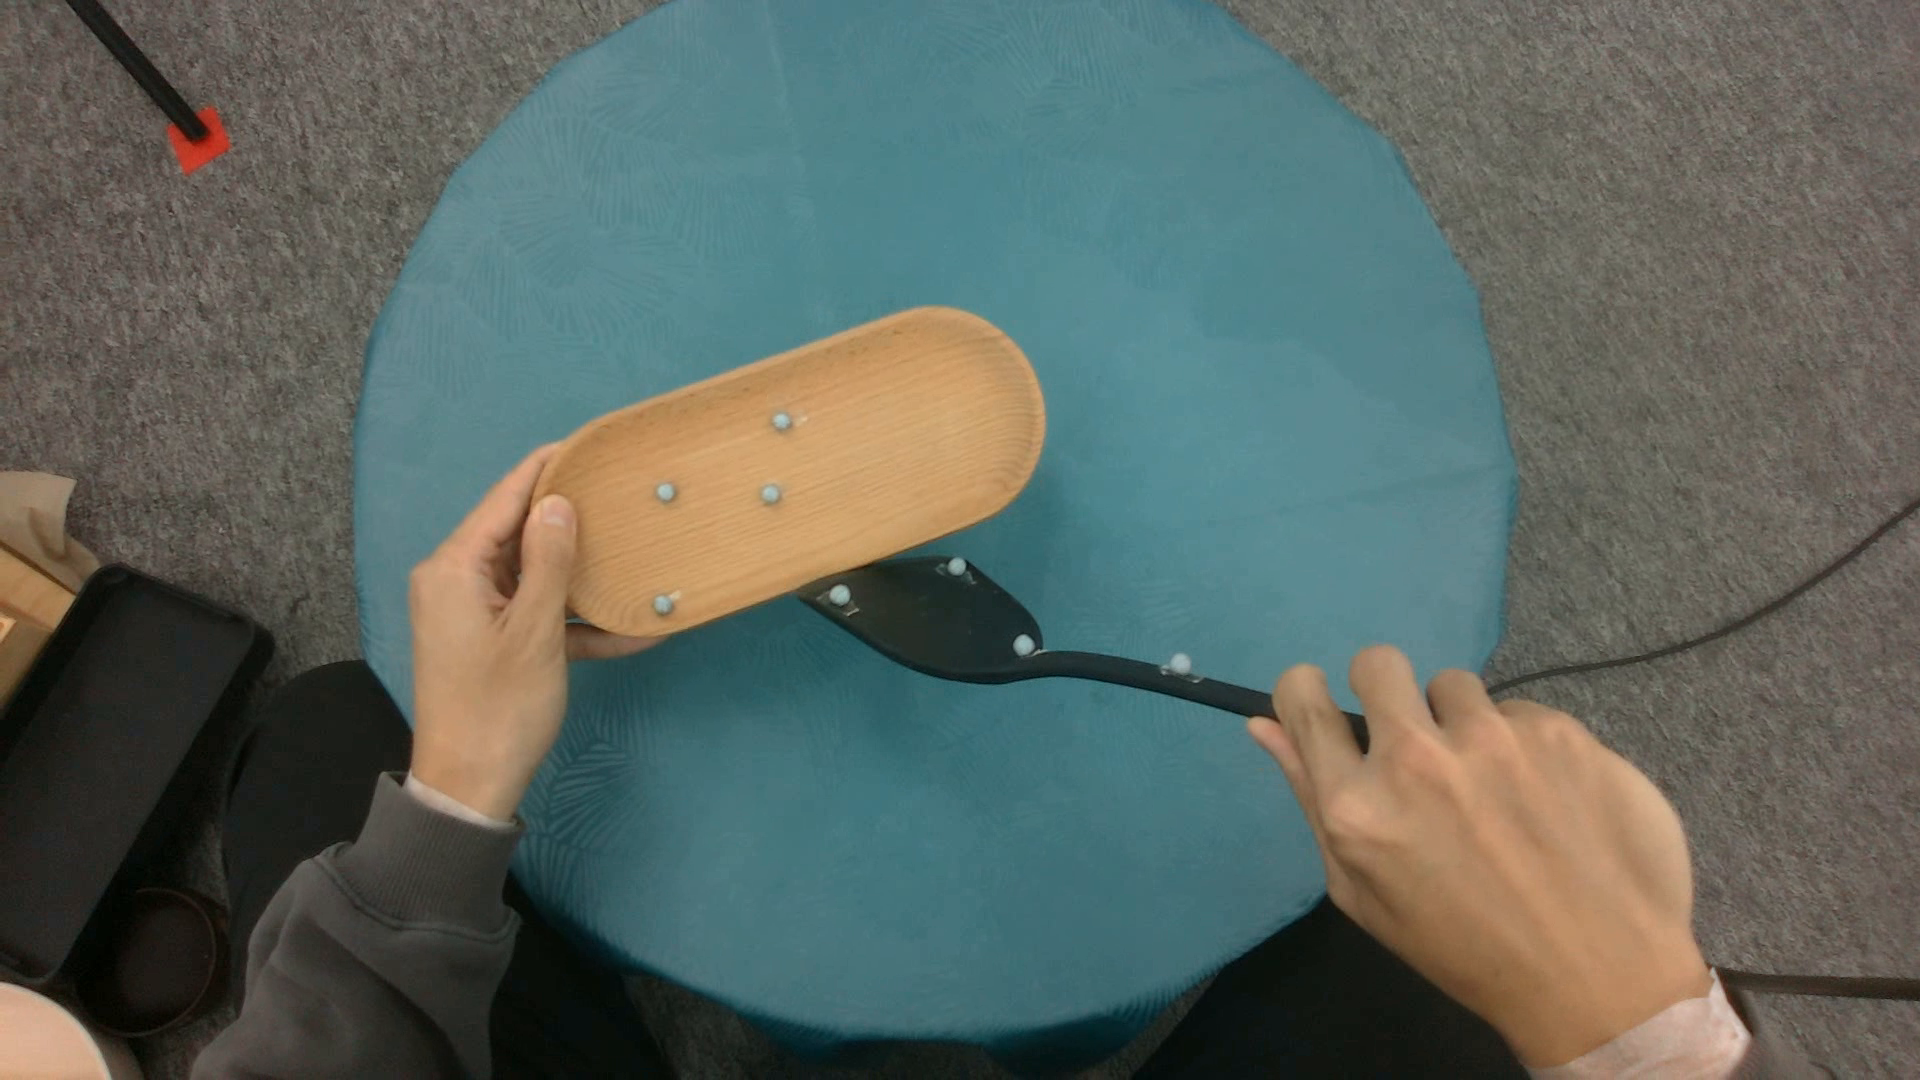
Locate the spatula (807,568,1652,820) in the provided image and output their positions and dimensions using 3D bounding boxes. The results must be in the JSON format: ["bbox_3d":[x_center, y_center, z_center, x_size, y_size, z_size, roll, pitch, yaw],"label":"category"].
[{"bbox_3d":[0.084,0.052,0.515,0.325,0.100,0.040,7,104,40],"label":"spatula"}]

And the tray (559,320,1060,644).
[{"bbox_3d":[-0.067,-0.026,0.622,0.231,0.020,0.102,-20,85,-4],"label":"tray"}]
